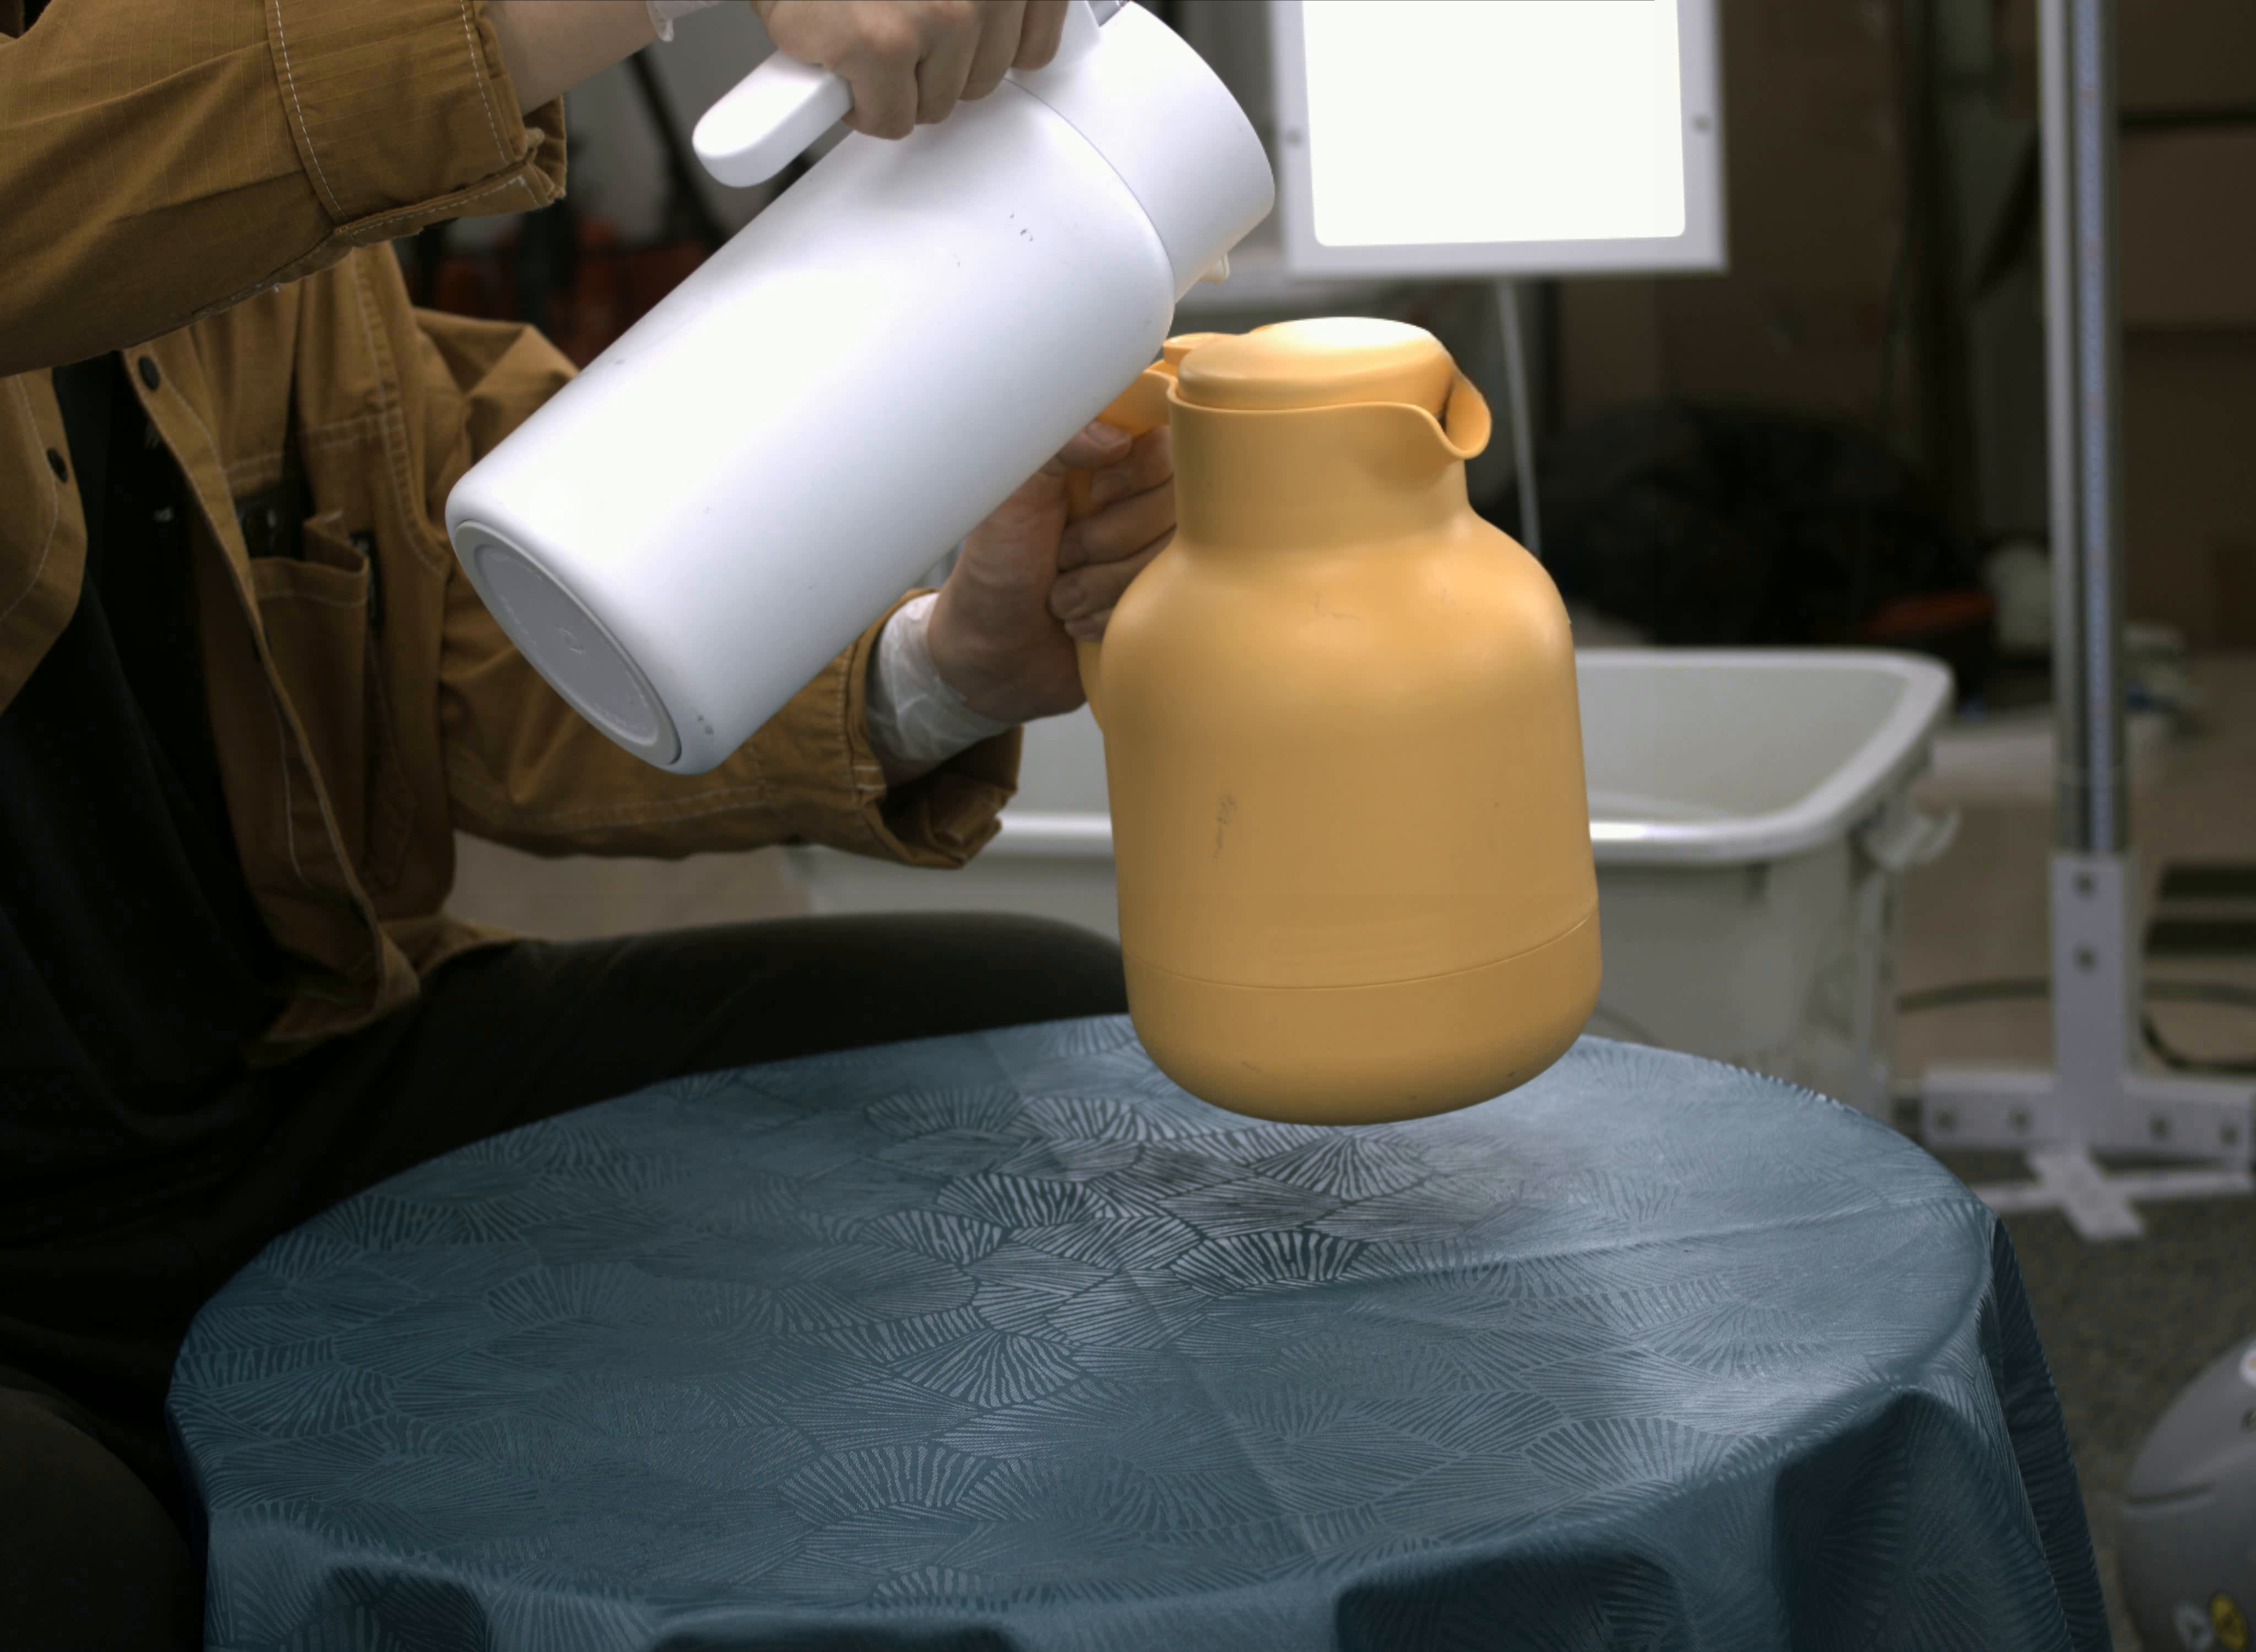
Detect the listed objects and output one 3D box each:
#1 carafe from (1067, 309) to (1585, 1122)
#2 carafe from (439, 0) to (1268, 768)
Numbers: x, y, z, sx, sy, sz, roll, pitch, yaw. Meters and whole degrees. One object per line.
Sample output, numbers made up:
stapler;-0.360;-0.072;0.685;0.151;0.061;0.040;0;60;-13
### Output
carafe;0.058;-0.045;1.858;0.159;0.261;0.206;-15;20;-35
carafe;-0.087;-0.156;1.694;0.266;0.171;0.126;-42;42;-14
